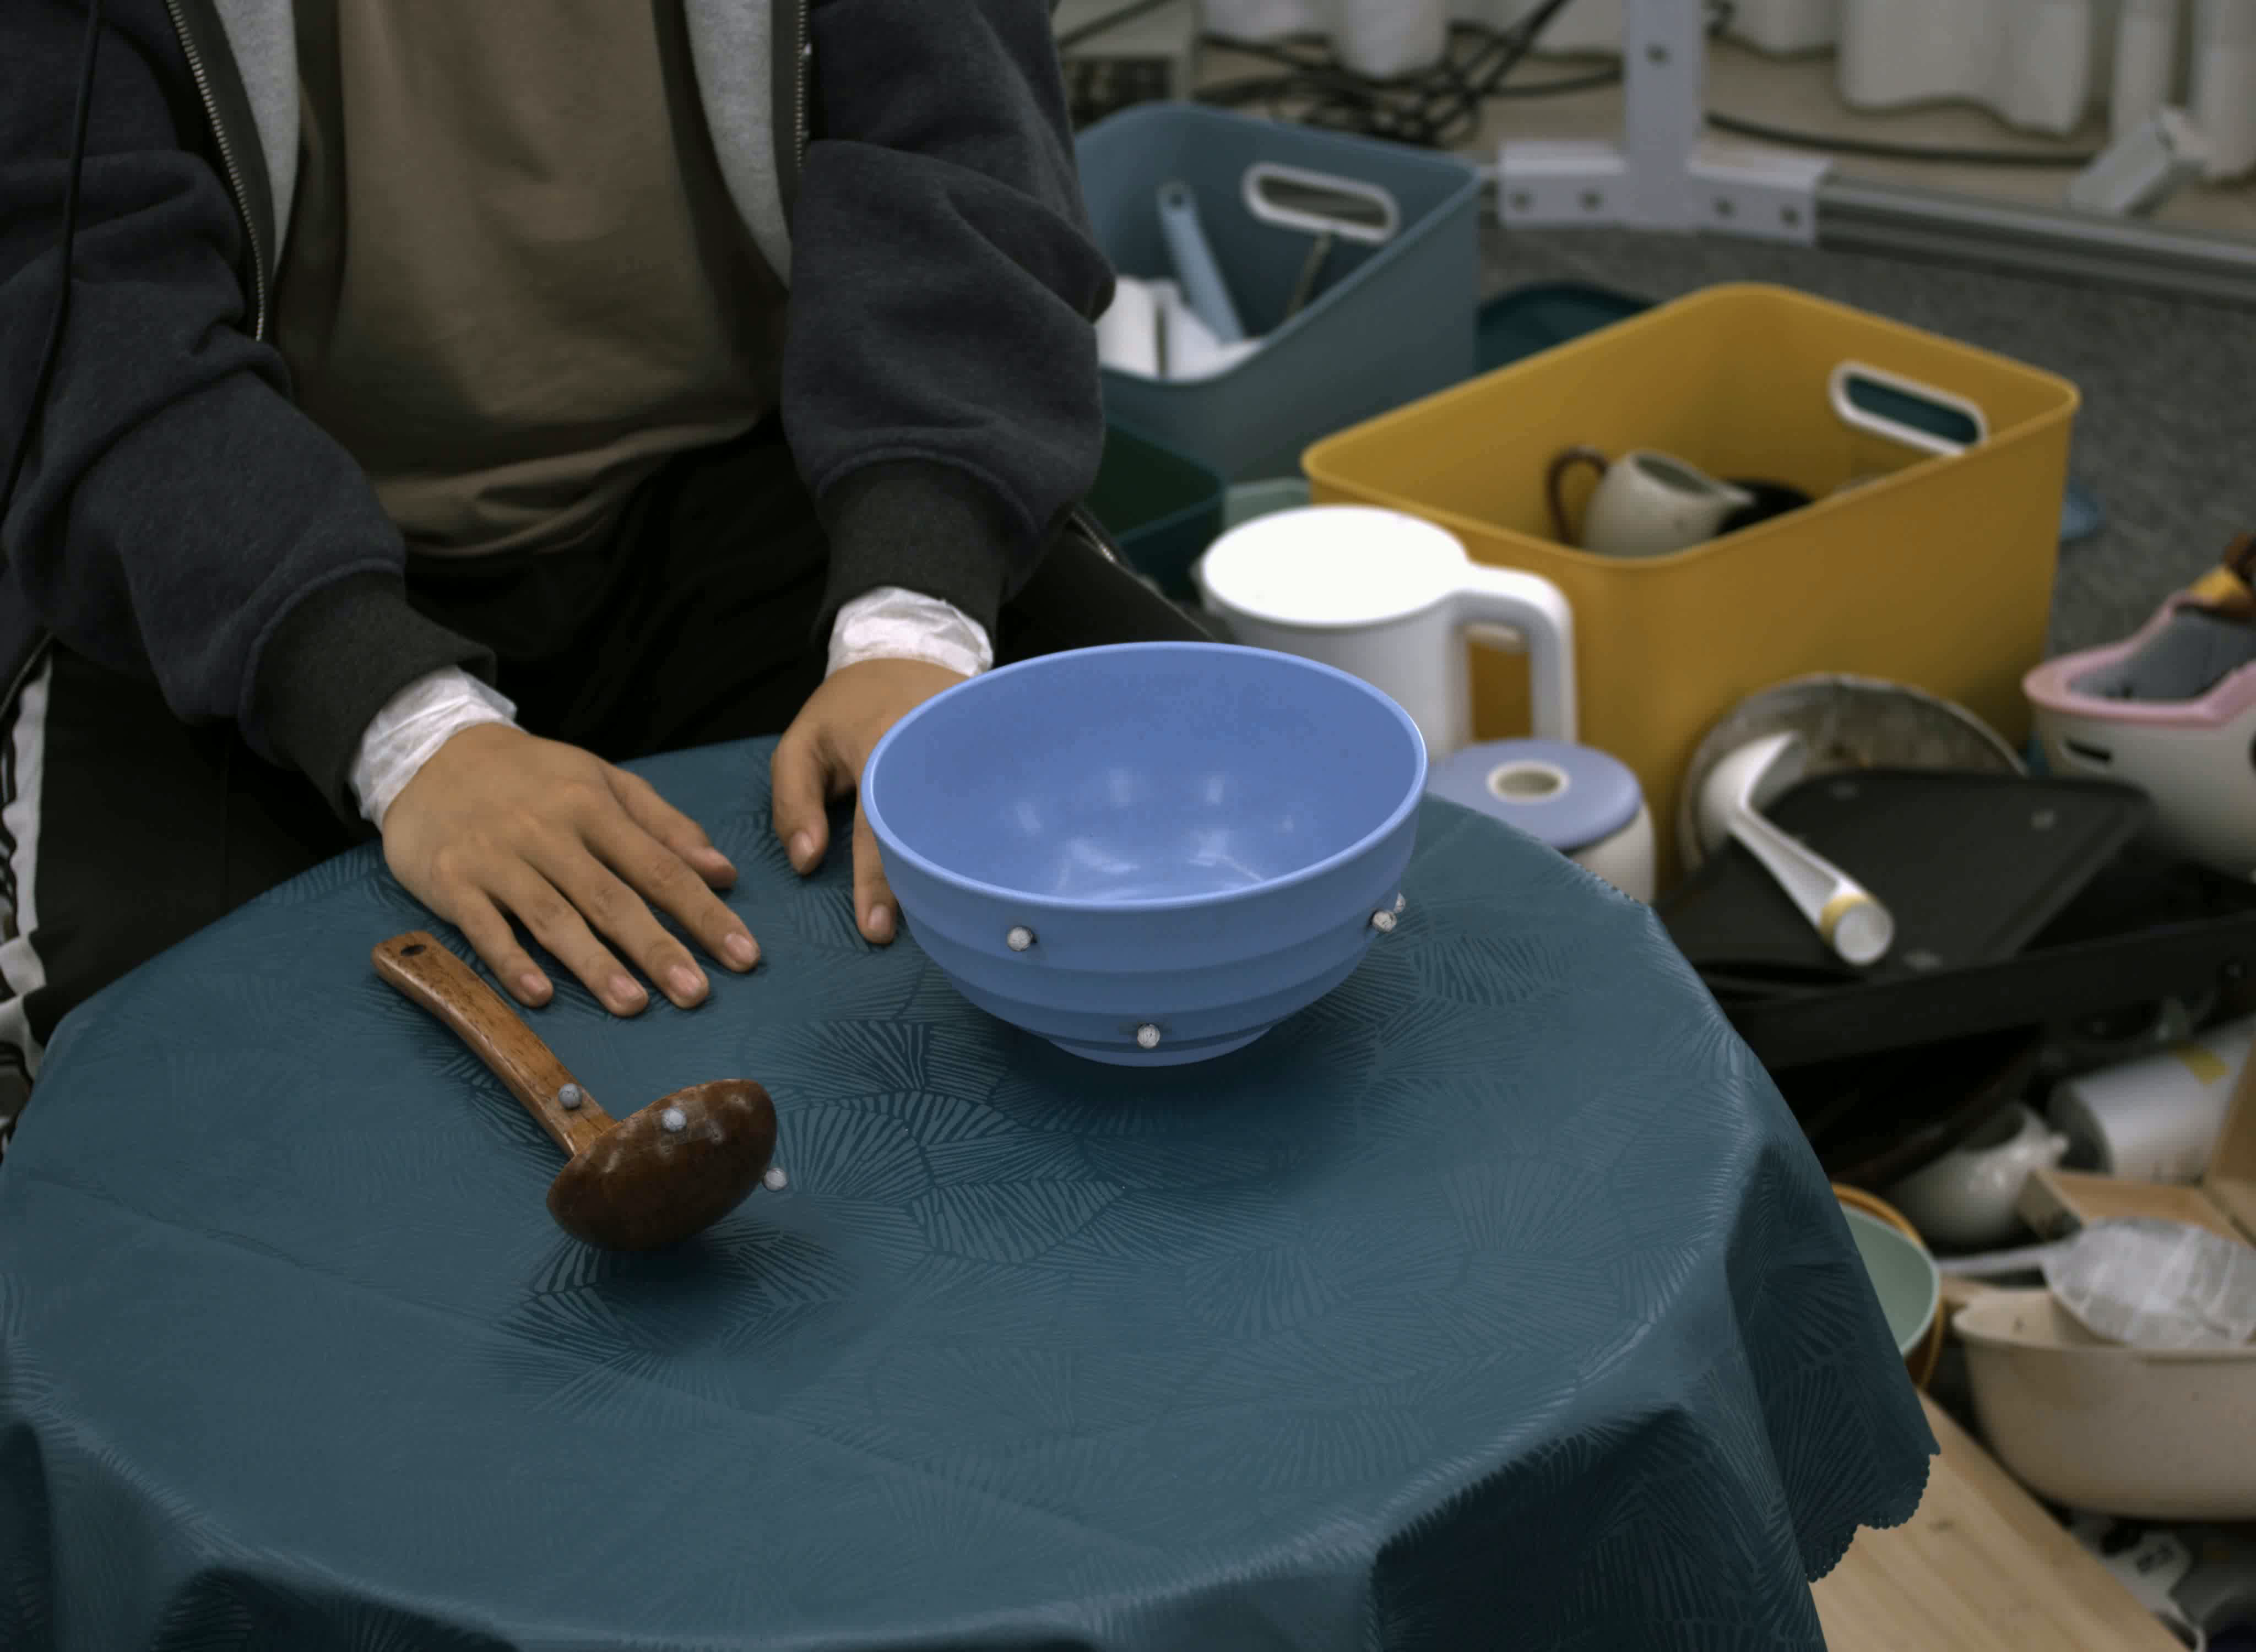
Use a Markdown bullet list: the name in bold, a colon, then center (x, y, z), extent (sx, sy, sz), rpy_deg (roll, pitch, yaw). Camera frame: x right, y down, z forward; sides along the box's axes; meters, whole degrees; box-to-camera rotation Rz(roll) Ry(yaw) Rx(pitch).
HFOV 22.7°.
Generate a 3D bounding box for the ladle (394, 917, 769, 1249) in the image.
- **ladle**: center (-0.202, 0.067, 1.902), extent (0.082, 0.076, 0.275), rpy_deg (-18, 31, -21)

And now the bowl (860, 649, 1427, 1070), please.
- **bowl**: center (0.008, 0.022, 1.954), extent (0.195, 0.094, 0.199), rpy_deg (-3, 26, 2)
